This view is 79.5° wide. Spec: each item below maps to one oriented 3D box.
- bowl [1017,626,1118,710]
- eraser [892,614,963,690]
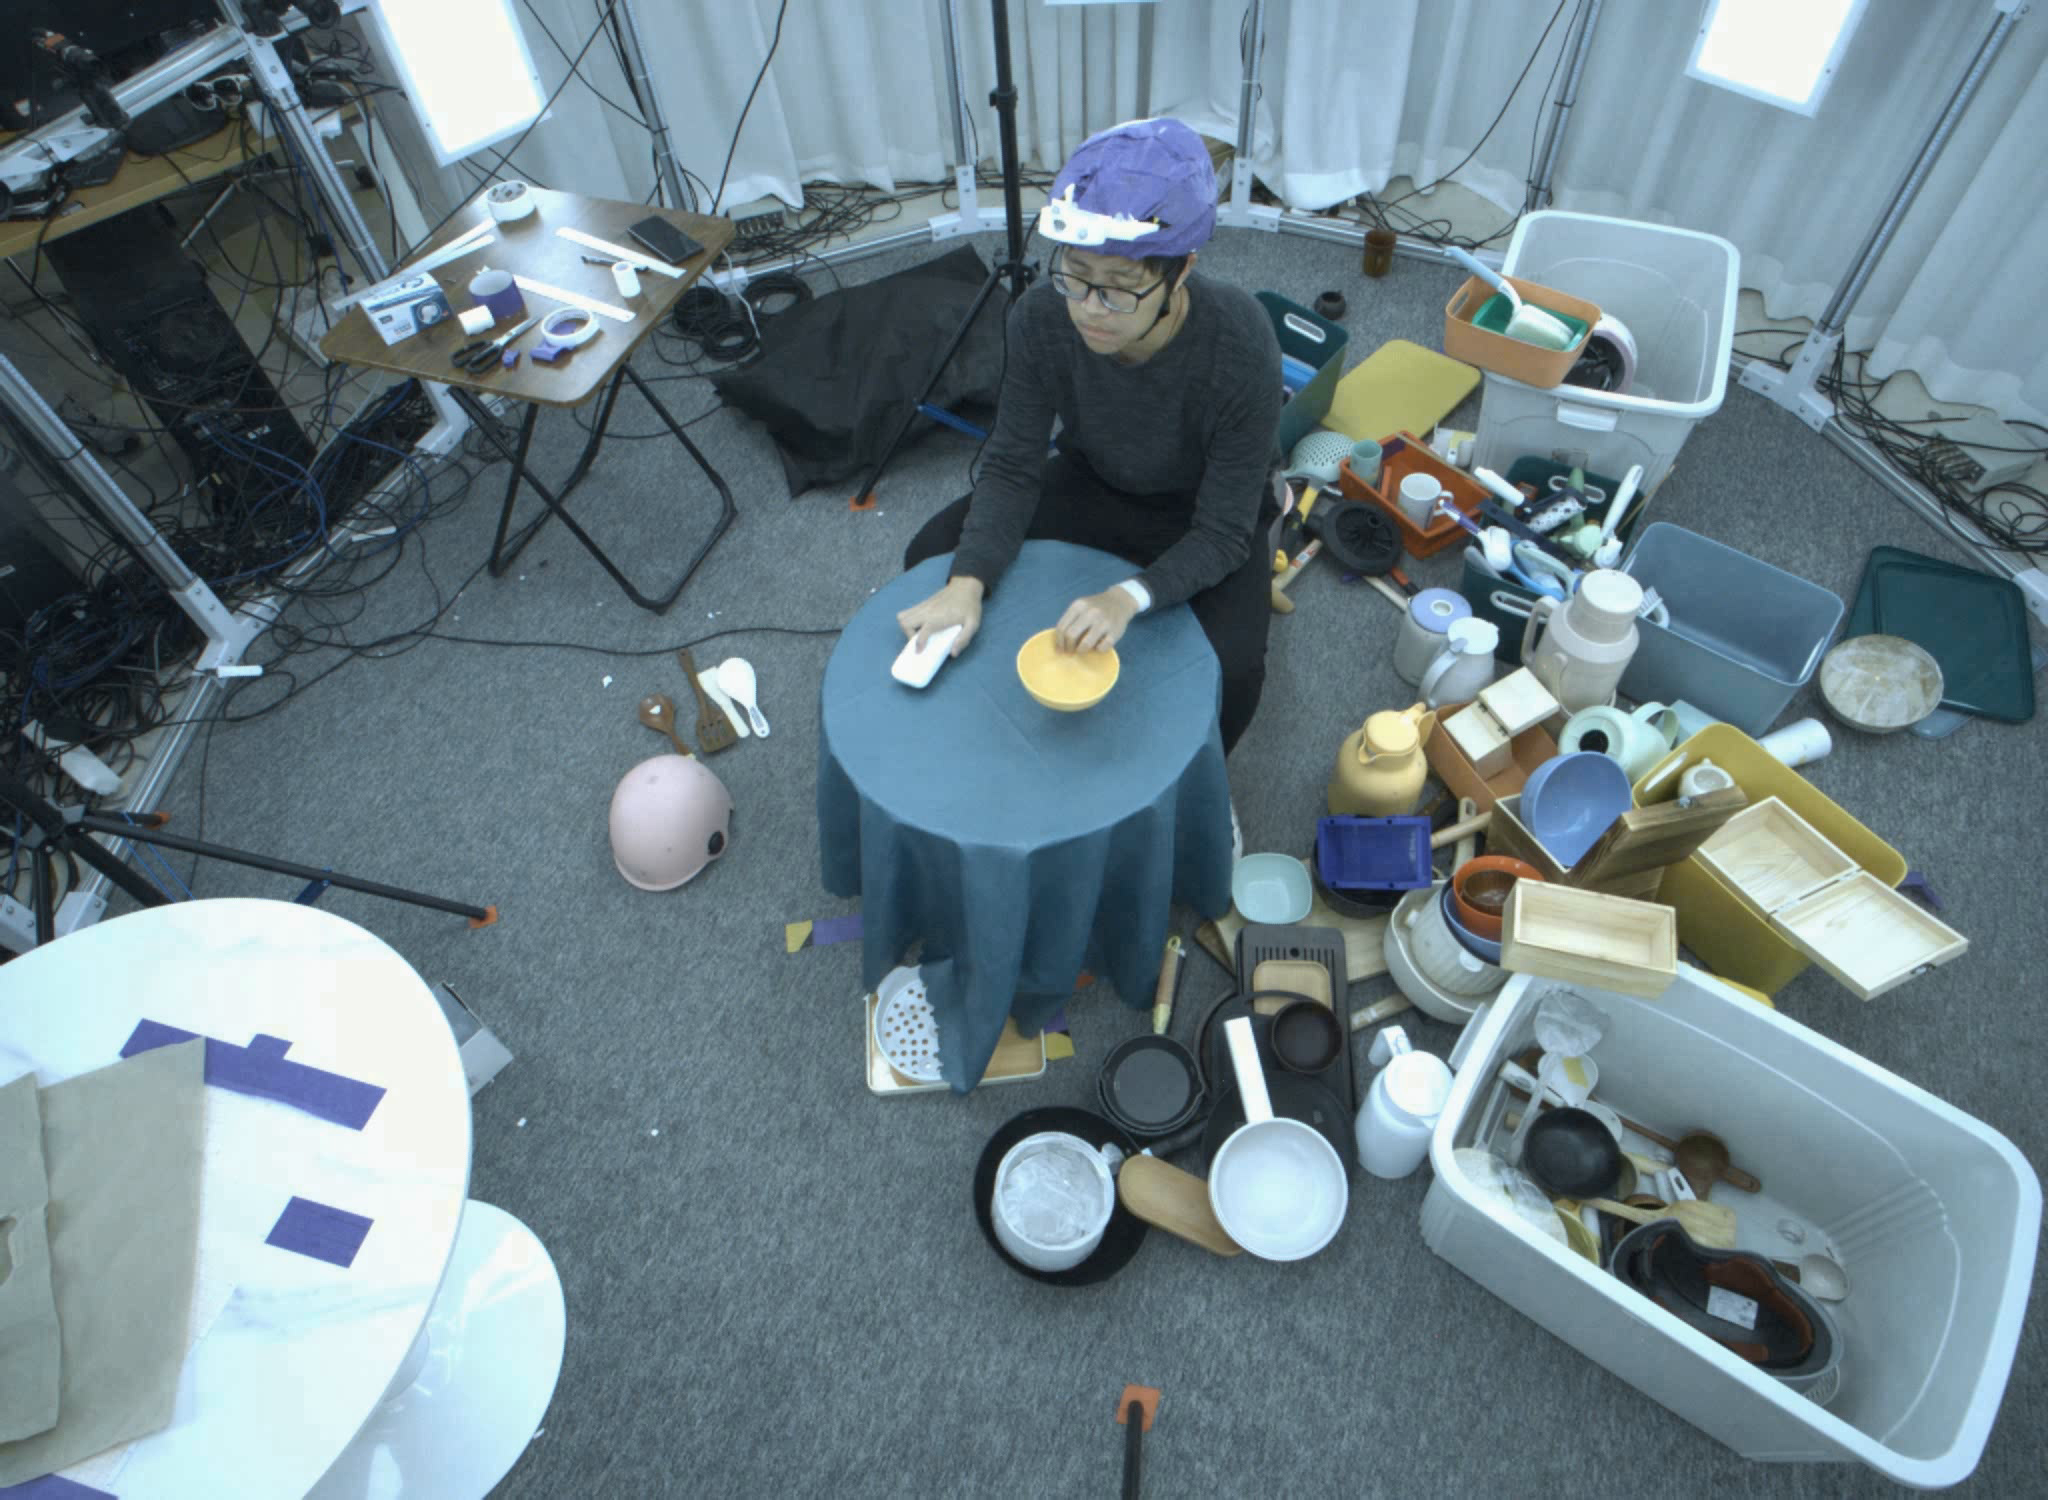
[{"bbox_3d":[0.060,-0.106,1.762,0.146,0.060,0.144,4,52,-4],"label":"bowl"},{"bbox_3d":[-0.145,-0.151,1.870,0.062,0.035,0.131,20,61,23],"label":"eraser"}]
